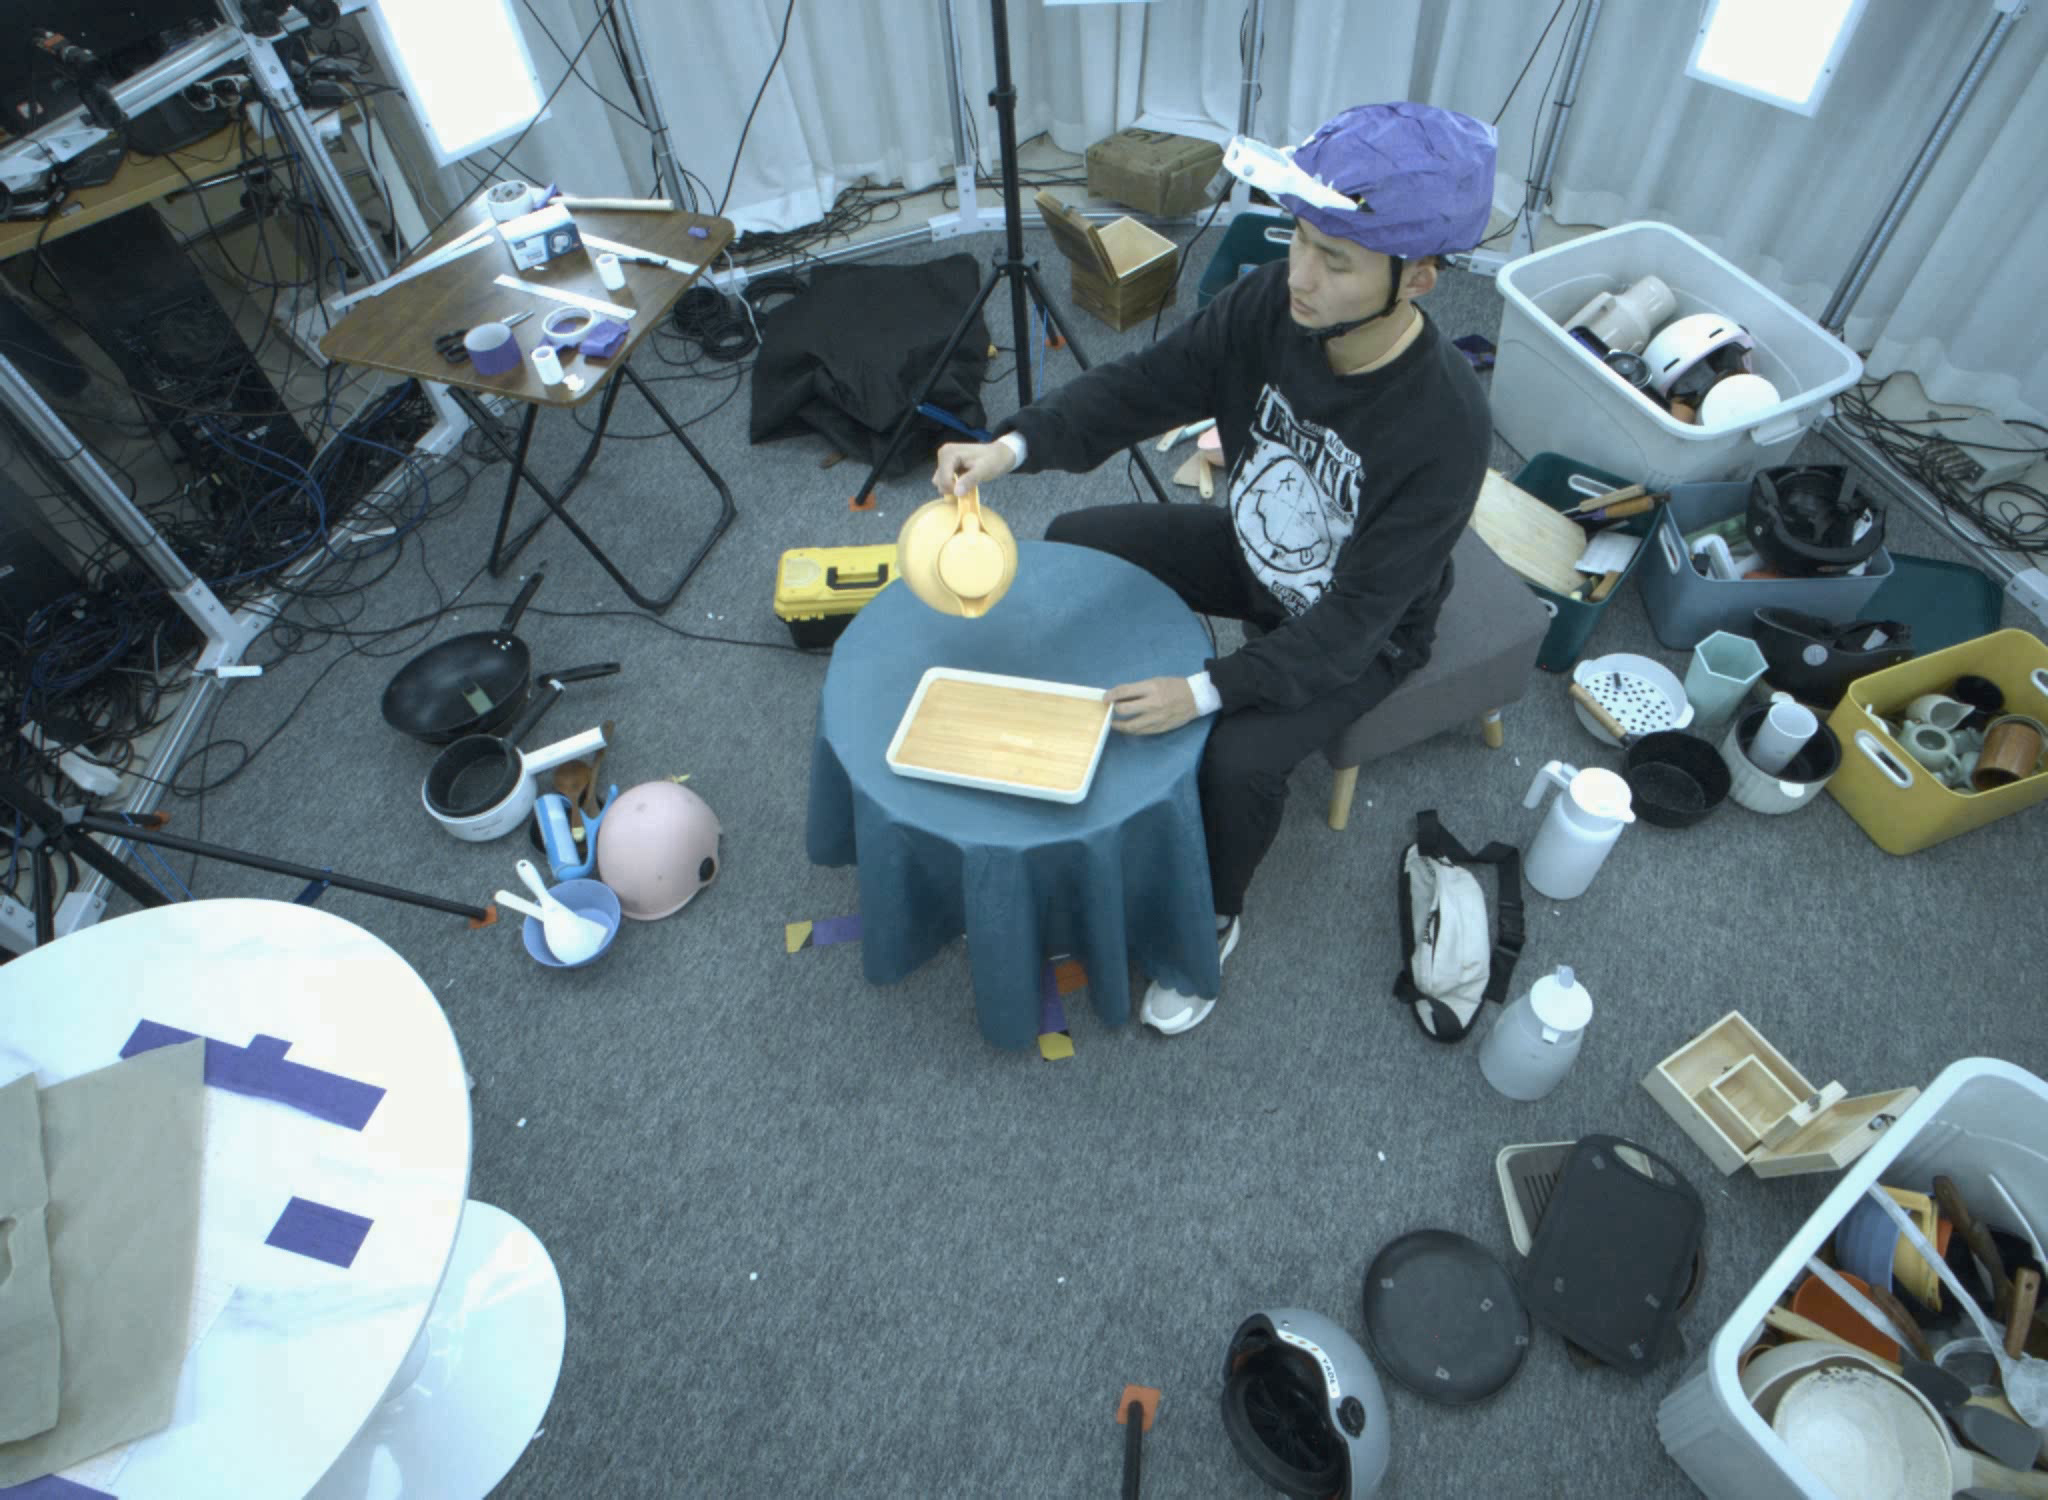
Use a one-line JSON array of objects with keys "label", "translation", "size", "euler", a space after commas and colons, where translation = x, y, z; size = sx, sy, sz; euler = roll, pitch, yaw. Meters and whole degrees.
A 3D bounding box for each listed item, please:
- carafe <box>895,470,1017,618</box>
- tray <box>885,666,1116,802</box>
[{"label": "carafe", "translation": [-0.091, -0.292, 1.715], "size": [0.165, 0.203, 0.256], "euler": [-2, 15, -13]}, {"label": "tray", "translation": [-0.033, -0.027, 1.767], "size": [0.297, 0.028, 0.191], "euler": [9, 56, 16]}]
